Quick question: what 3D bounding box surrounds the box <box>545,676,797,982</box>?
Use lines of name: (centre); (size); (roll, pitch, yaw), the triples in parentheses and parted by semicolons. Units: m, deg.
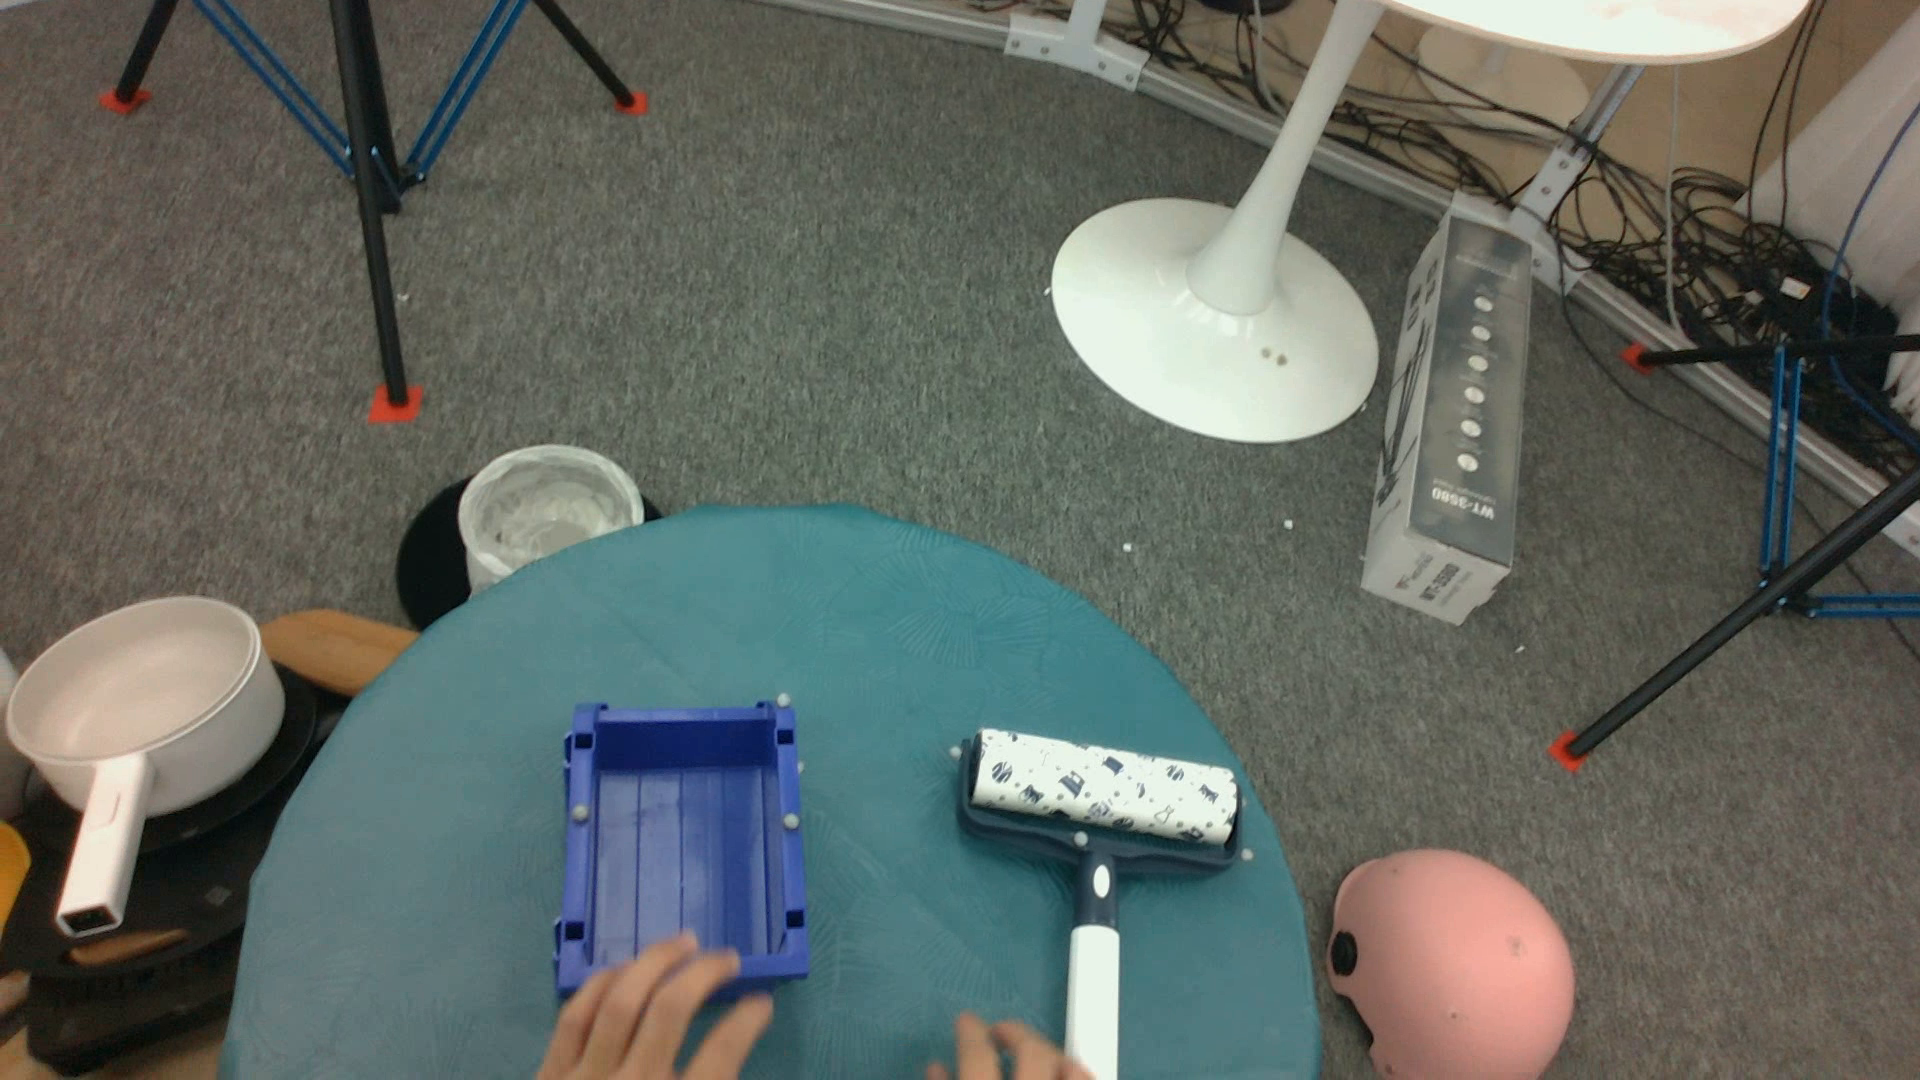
box: (-0.158, 0.152, 0.758); (0.124, 0.081, 0.180); (2, 57, -13)

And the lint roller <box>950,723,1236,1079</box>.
lint roller: (0.075, 0.230, 0.786); (0.176, 0.050, 0.248); (11, 54, -8)
